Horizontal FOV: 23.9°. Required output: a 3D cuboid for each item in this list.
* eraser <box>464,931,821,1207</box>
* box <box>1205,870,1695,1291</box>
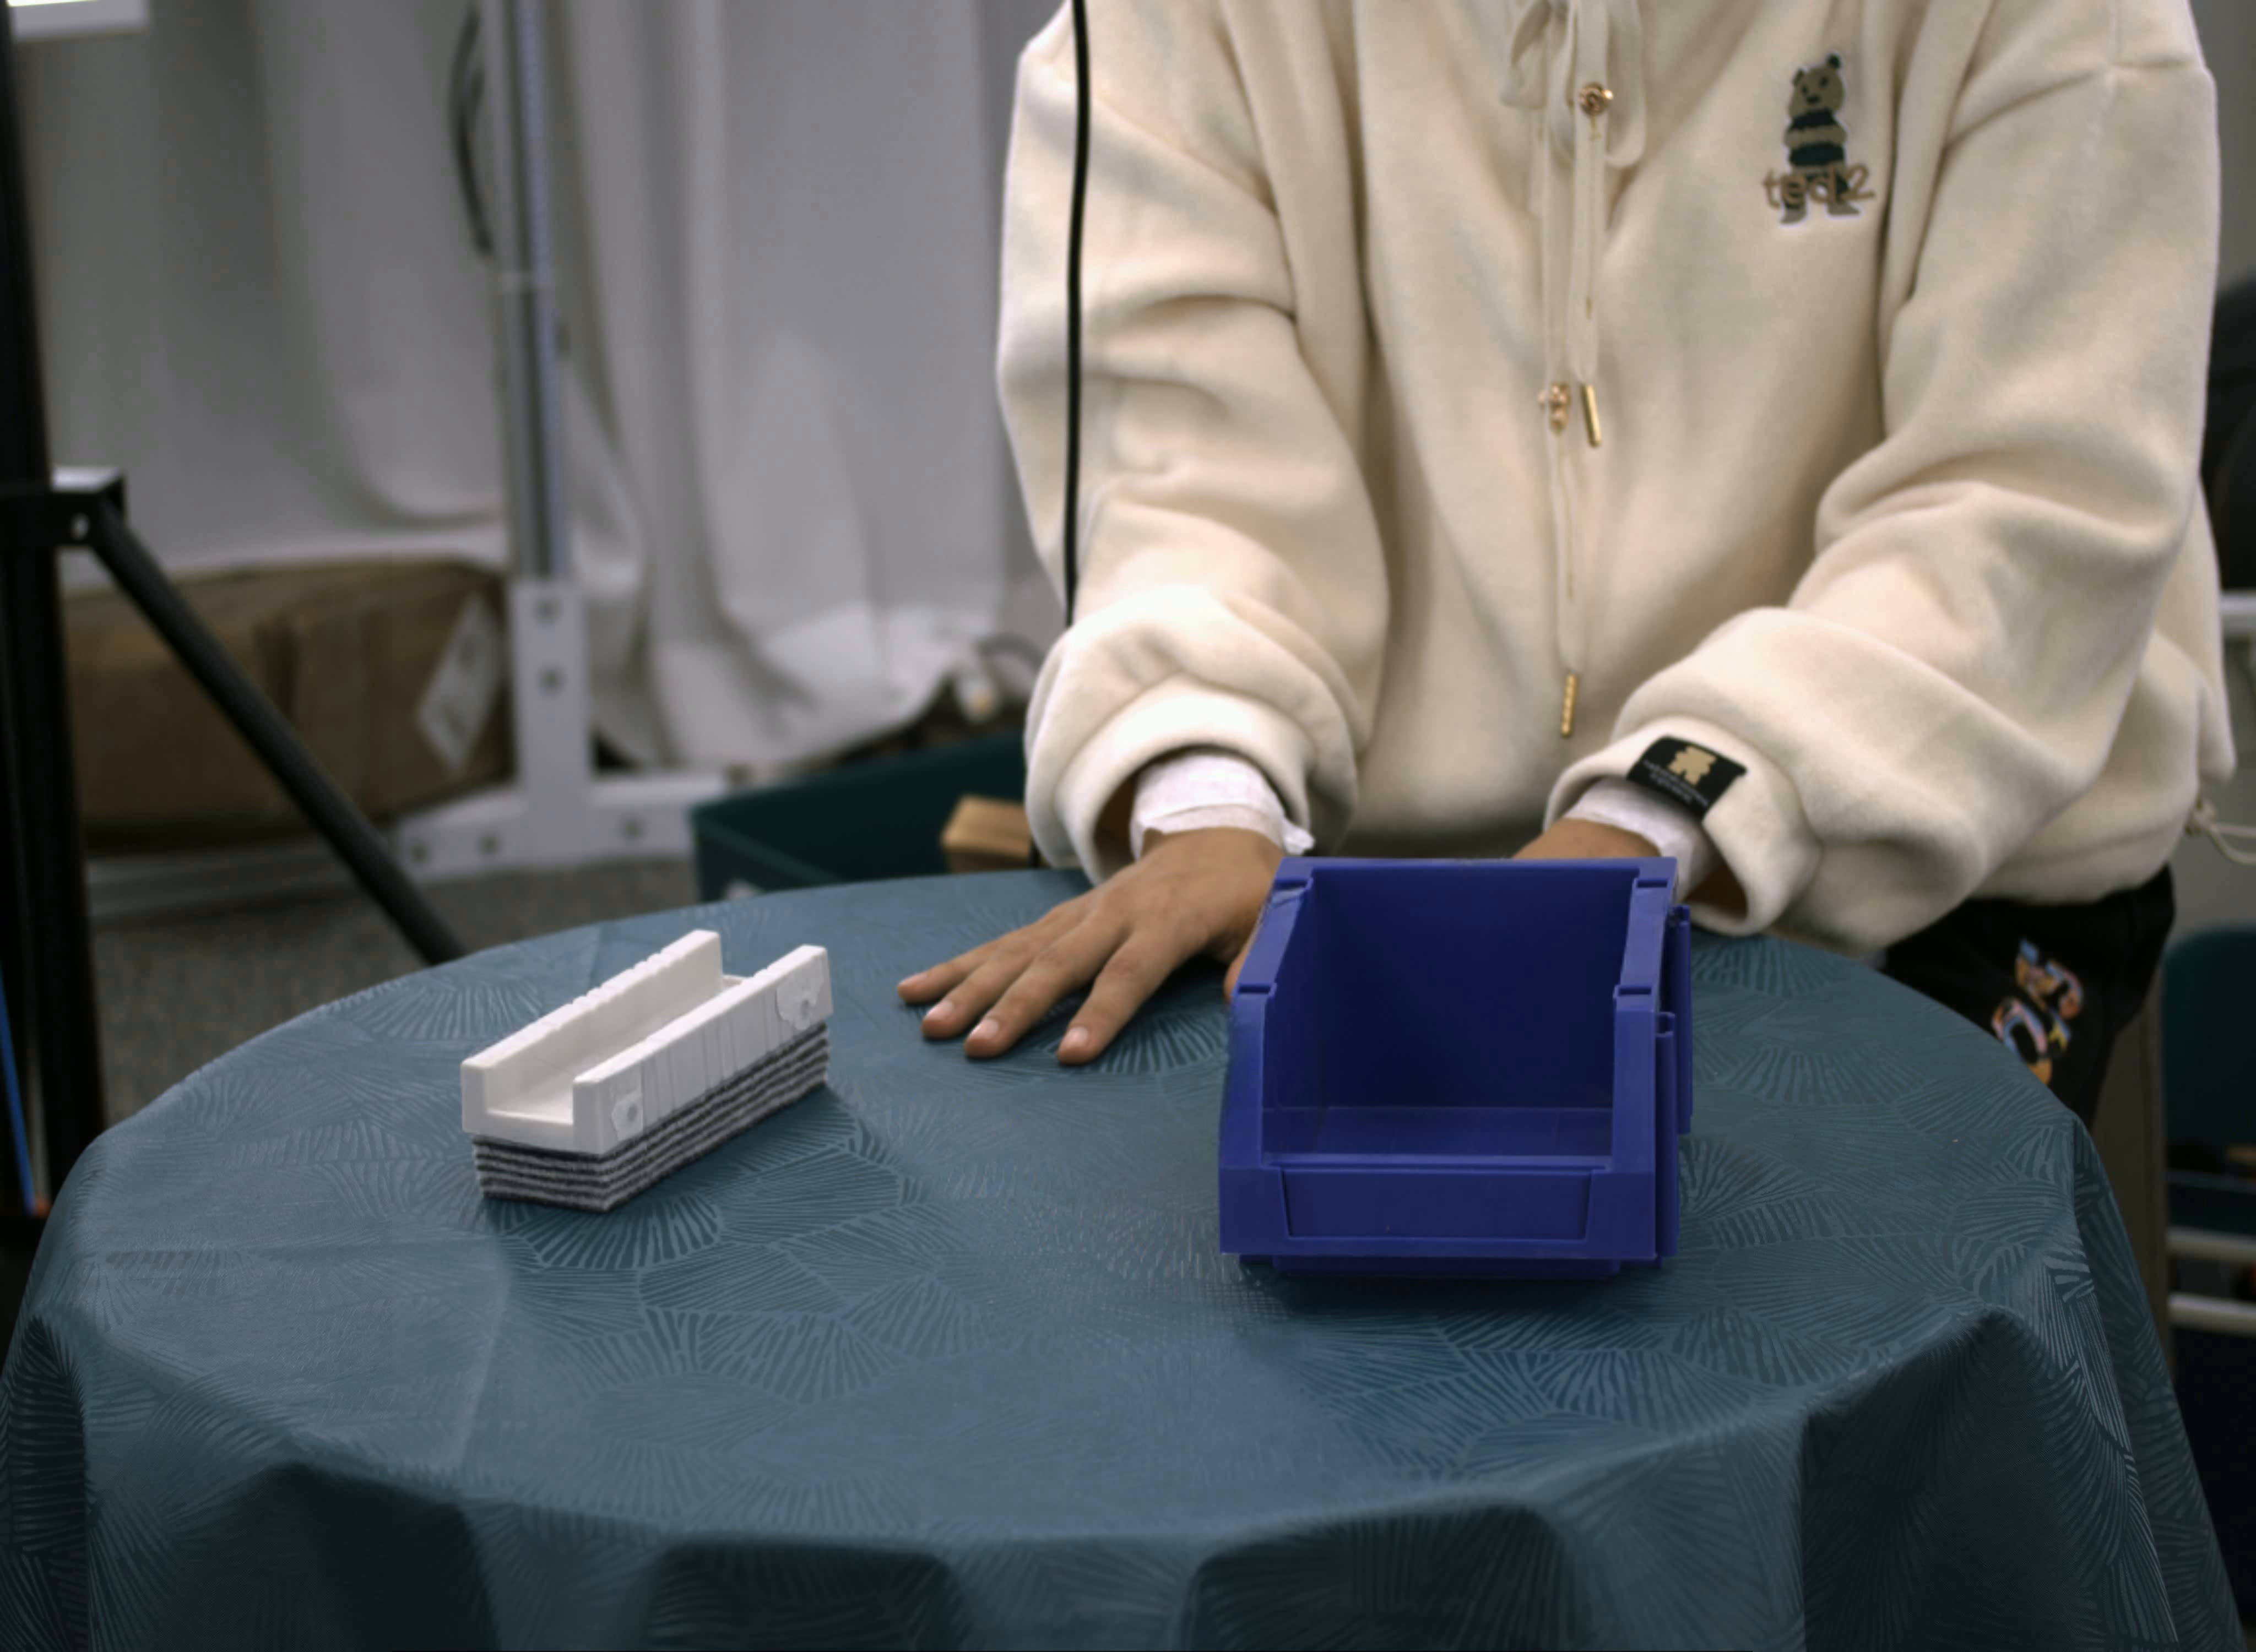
[{"bbox_3d":[-0.146,0.072,1.620,0.050,0.046,0.132,4,18,26],"label":"eraser"},{"bbox_3d":[0.096,0.075,1.510,0.125,0.082,0.178,1,14,10],"label":"box"}]
